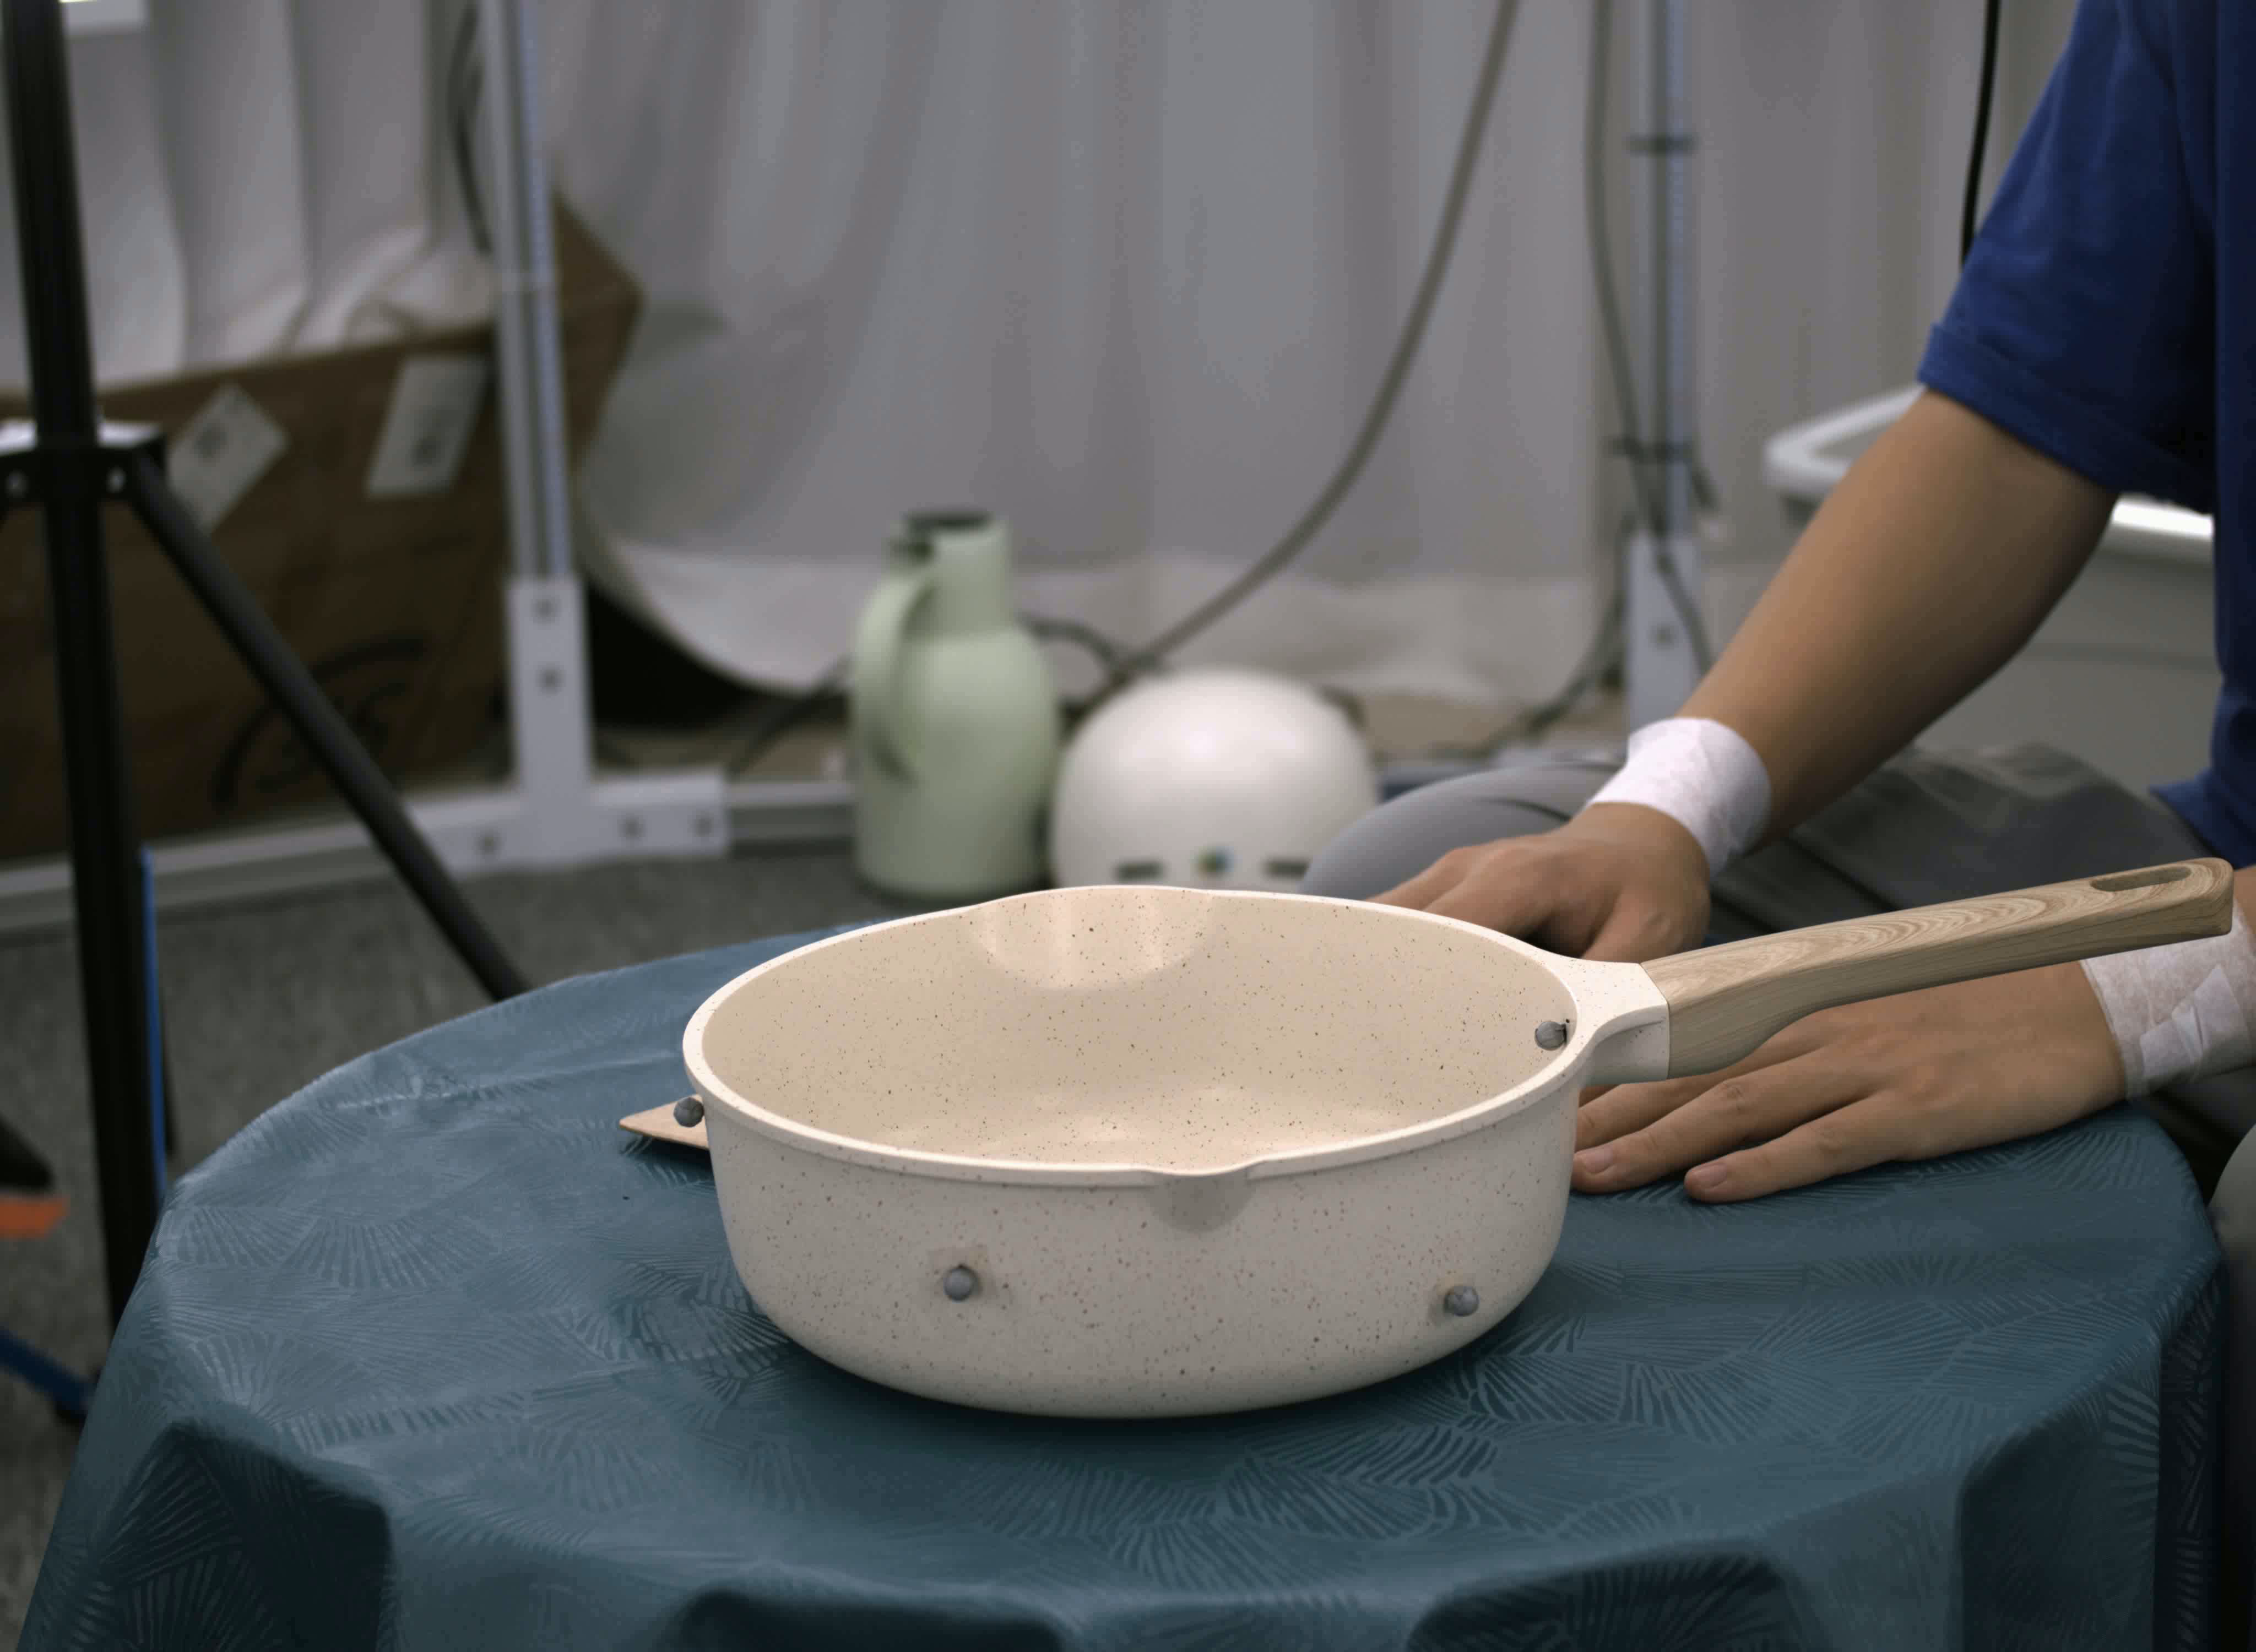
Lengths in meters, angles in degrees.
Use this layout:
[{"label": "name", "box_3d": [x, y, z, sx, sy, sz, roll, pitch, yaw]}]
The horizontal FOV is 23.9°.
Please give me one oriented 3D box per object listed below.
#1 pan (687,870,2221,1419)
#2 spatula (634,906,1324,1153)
[{"label": "pan", "box_3d": [0.096, 0.079, 1.465, 0.431, 0.102, 0.266, -4, 14, -6]}, {"label": "spatula", "box_3d": [-0.035, 0.064, 1.700, 0.074, 0.010, 0.286, 10, 20, 40]}]
